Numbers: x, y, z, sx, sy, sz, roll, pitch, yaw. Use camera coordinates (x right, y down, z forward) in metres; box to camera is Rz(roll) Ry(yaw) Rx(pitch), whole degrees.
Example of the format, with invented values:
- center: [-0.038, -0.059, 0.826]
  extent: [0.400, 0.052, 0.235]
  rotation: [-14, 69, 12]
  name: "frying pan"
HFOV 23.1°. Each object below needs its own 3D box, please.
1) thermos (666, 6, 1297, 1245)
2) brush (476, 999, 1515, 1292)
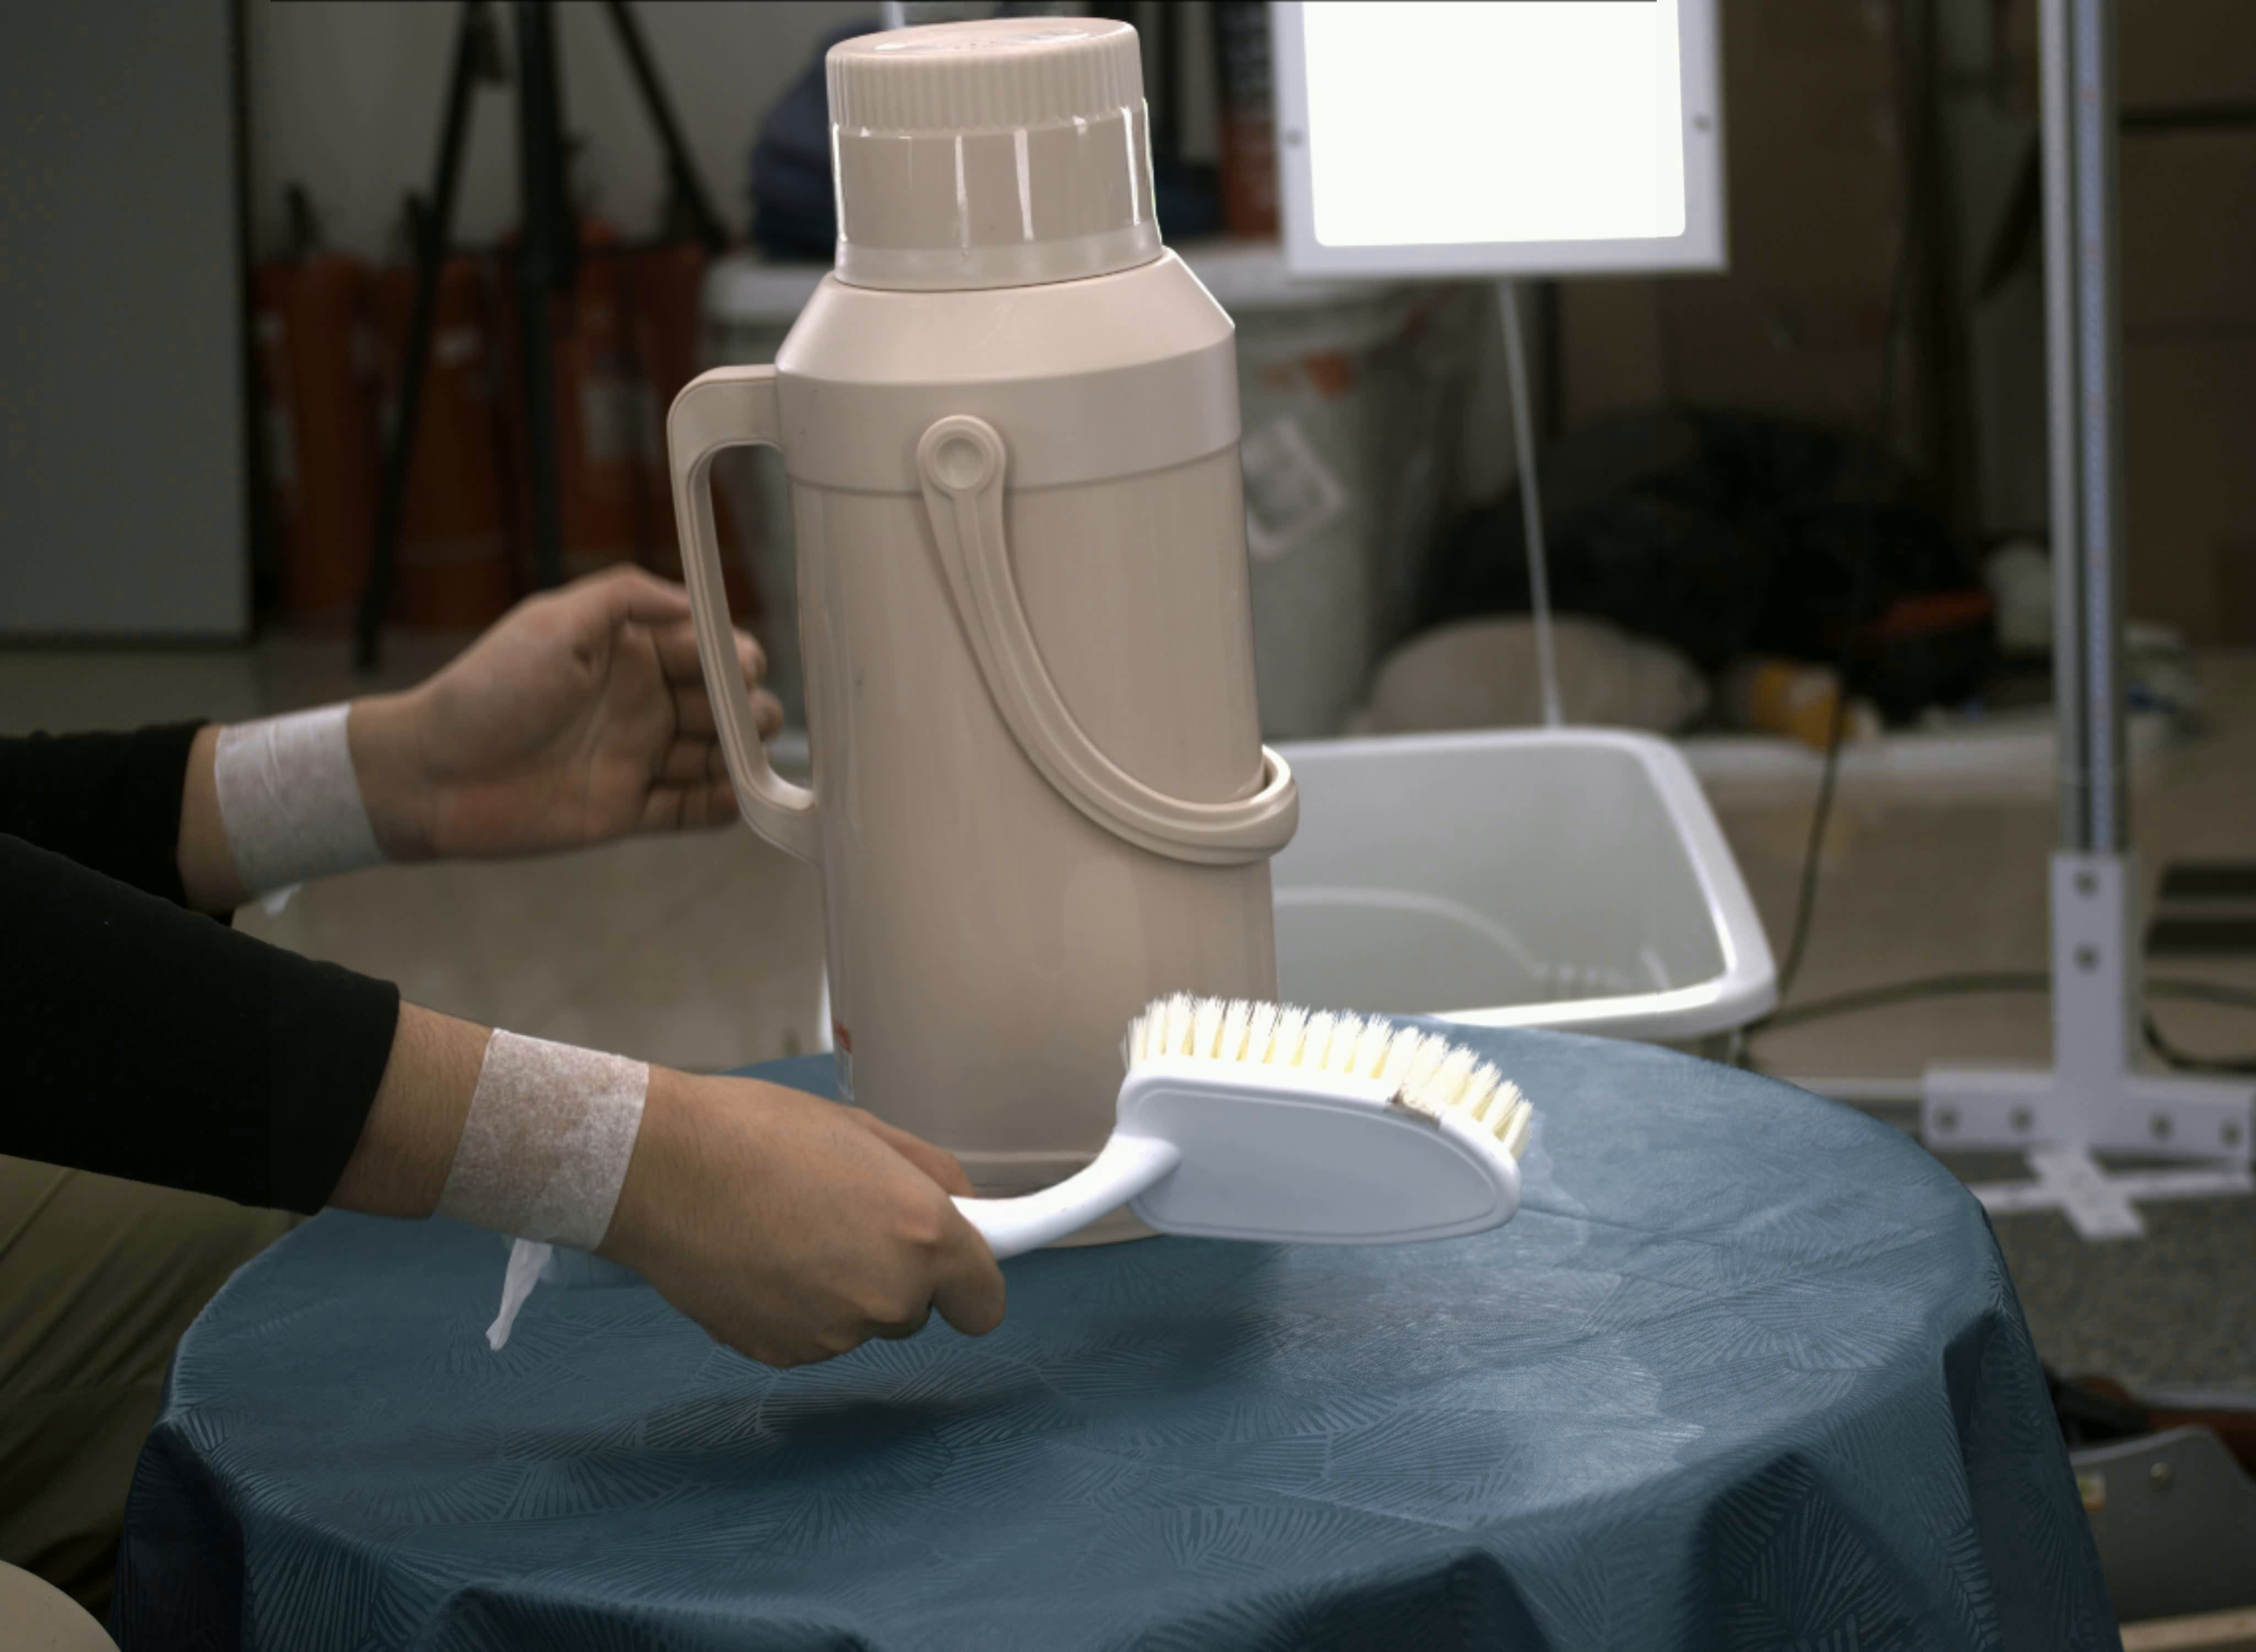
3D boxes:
- center: [-0.049, -0.069, 1.879]
  extent: [0.208, 0.408, 0.173]
  rotation: [-1, 16, 11]
  name: "thermos"
- center: [-0.041, 0.098, 1.726]
  extent: [0.325, 0.083, 0.084]
  rotation: [-2, -1, 2]
  name: "brush"
